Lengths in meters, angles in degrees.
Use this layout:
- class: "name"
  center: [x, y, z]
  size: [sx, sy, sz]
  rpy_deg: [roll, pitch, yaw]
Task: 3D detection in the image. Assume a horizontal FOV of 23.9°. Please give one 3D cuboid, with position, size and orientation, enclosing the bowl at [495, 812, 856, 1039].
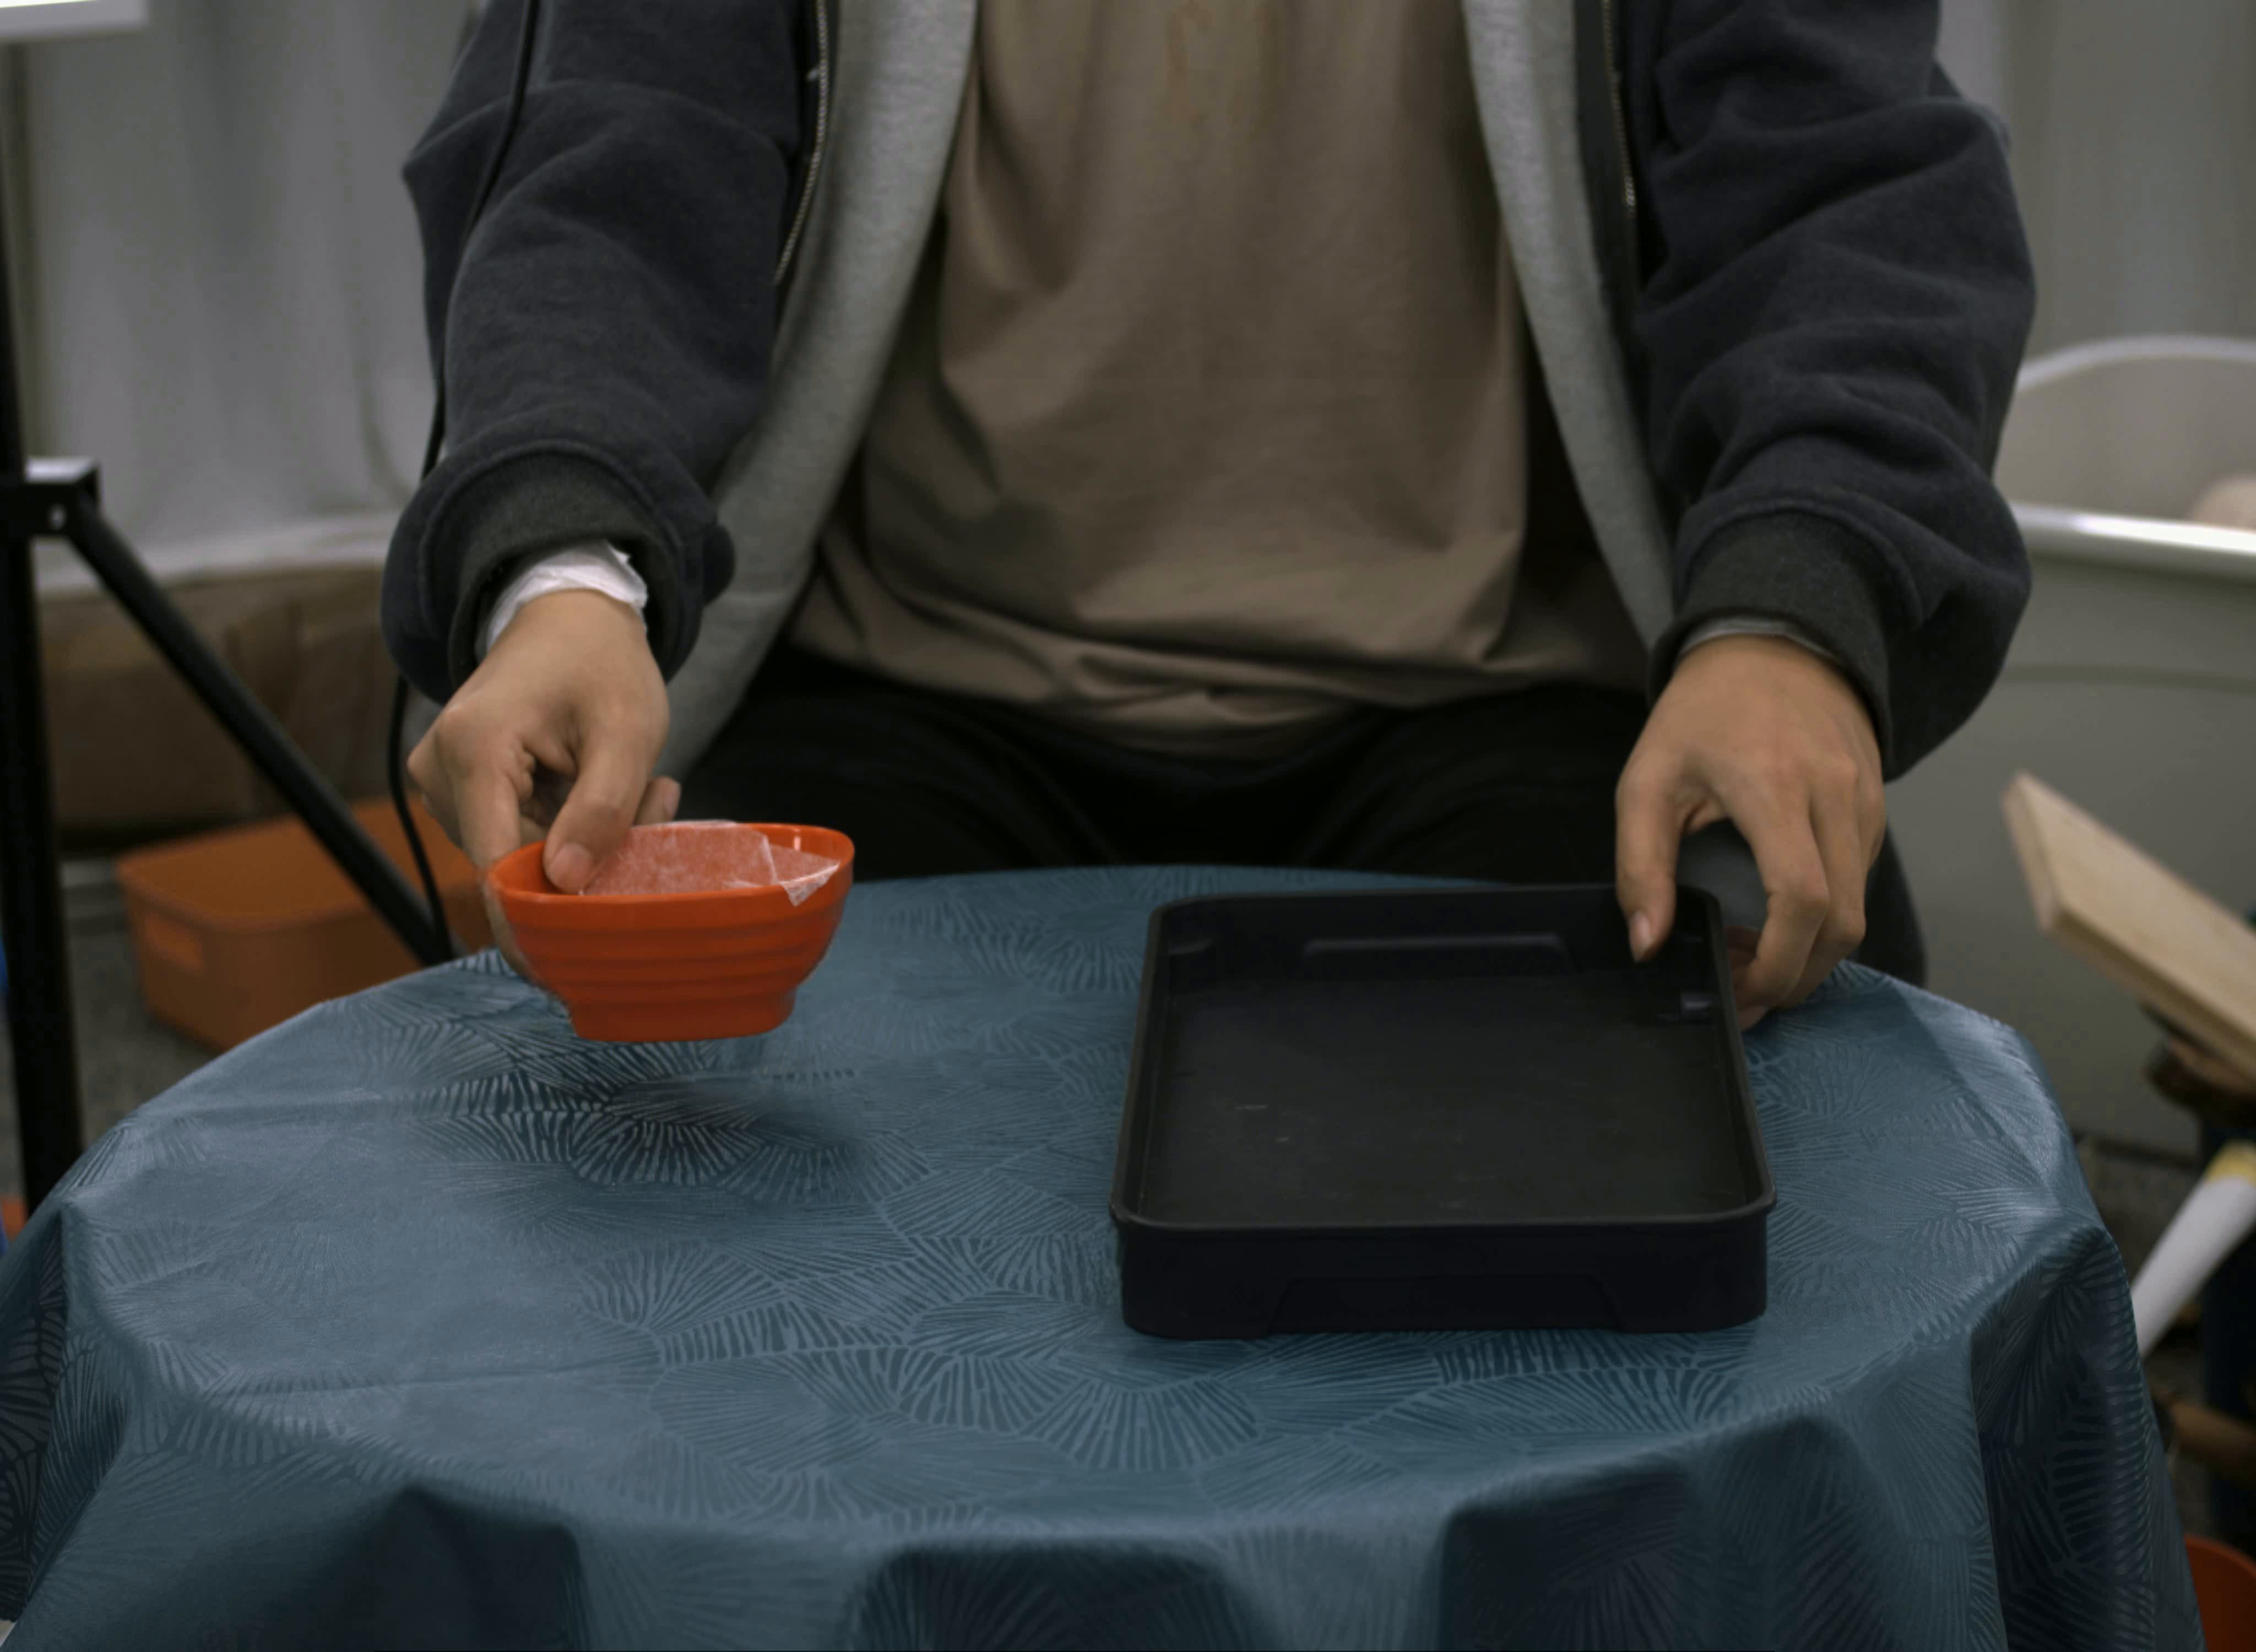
- class: "bowl"
  center: [-0.136, 0.032, 1.631]
  size: [0.118, 0.051, 0.119]
  rpy_deg: [-4, 12, -1]

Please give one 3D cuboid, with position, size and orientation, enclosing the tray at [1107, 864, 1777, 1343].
- class: "tray"
  center: [0.091, 0.078, 1.580]
  size: [0.184, 0.037, 0.318]
  rpy_deg: [-2, 17, 4]
